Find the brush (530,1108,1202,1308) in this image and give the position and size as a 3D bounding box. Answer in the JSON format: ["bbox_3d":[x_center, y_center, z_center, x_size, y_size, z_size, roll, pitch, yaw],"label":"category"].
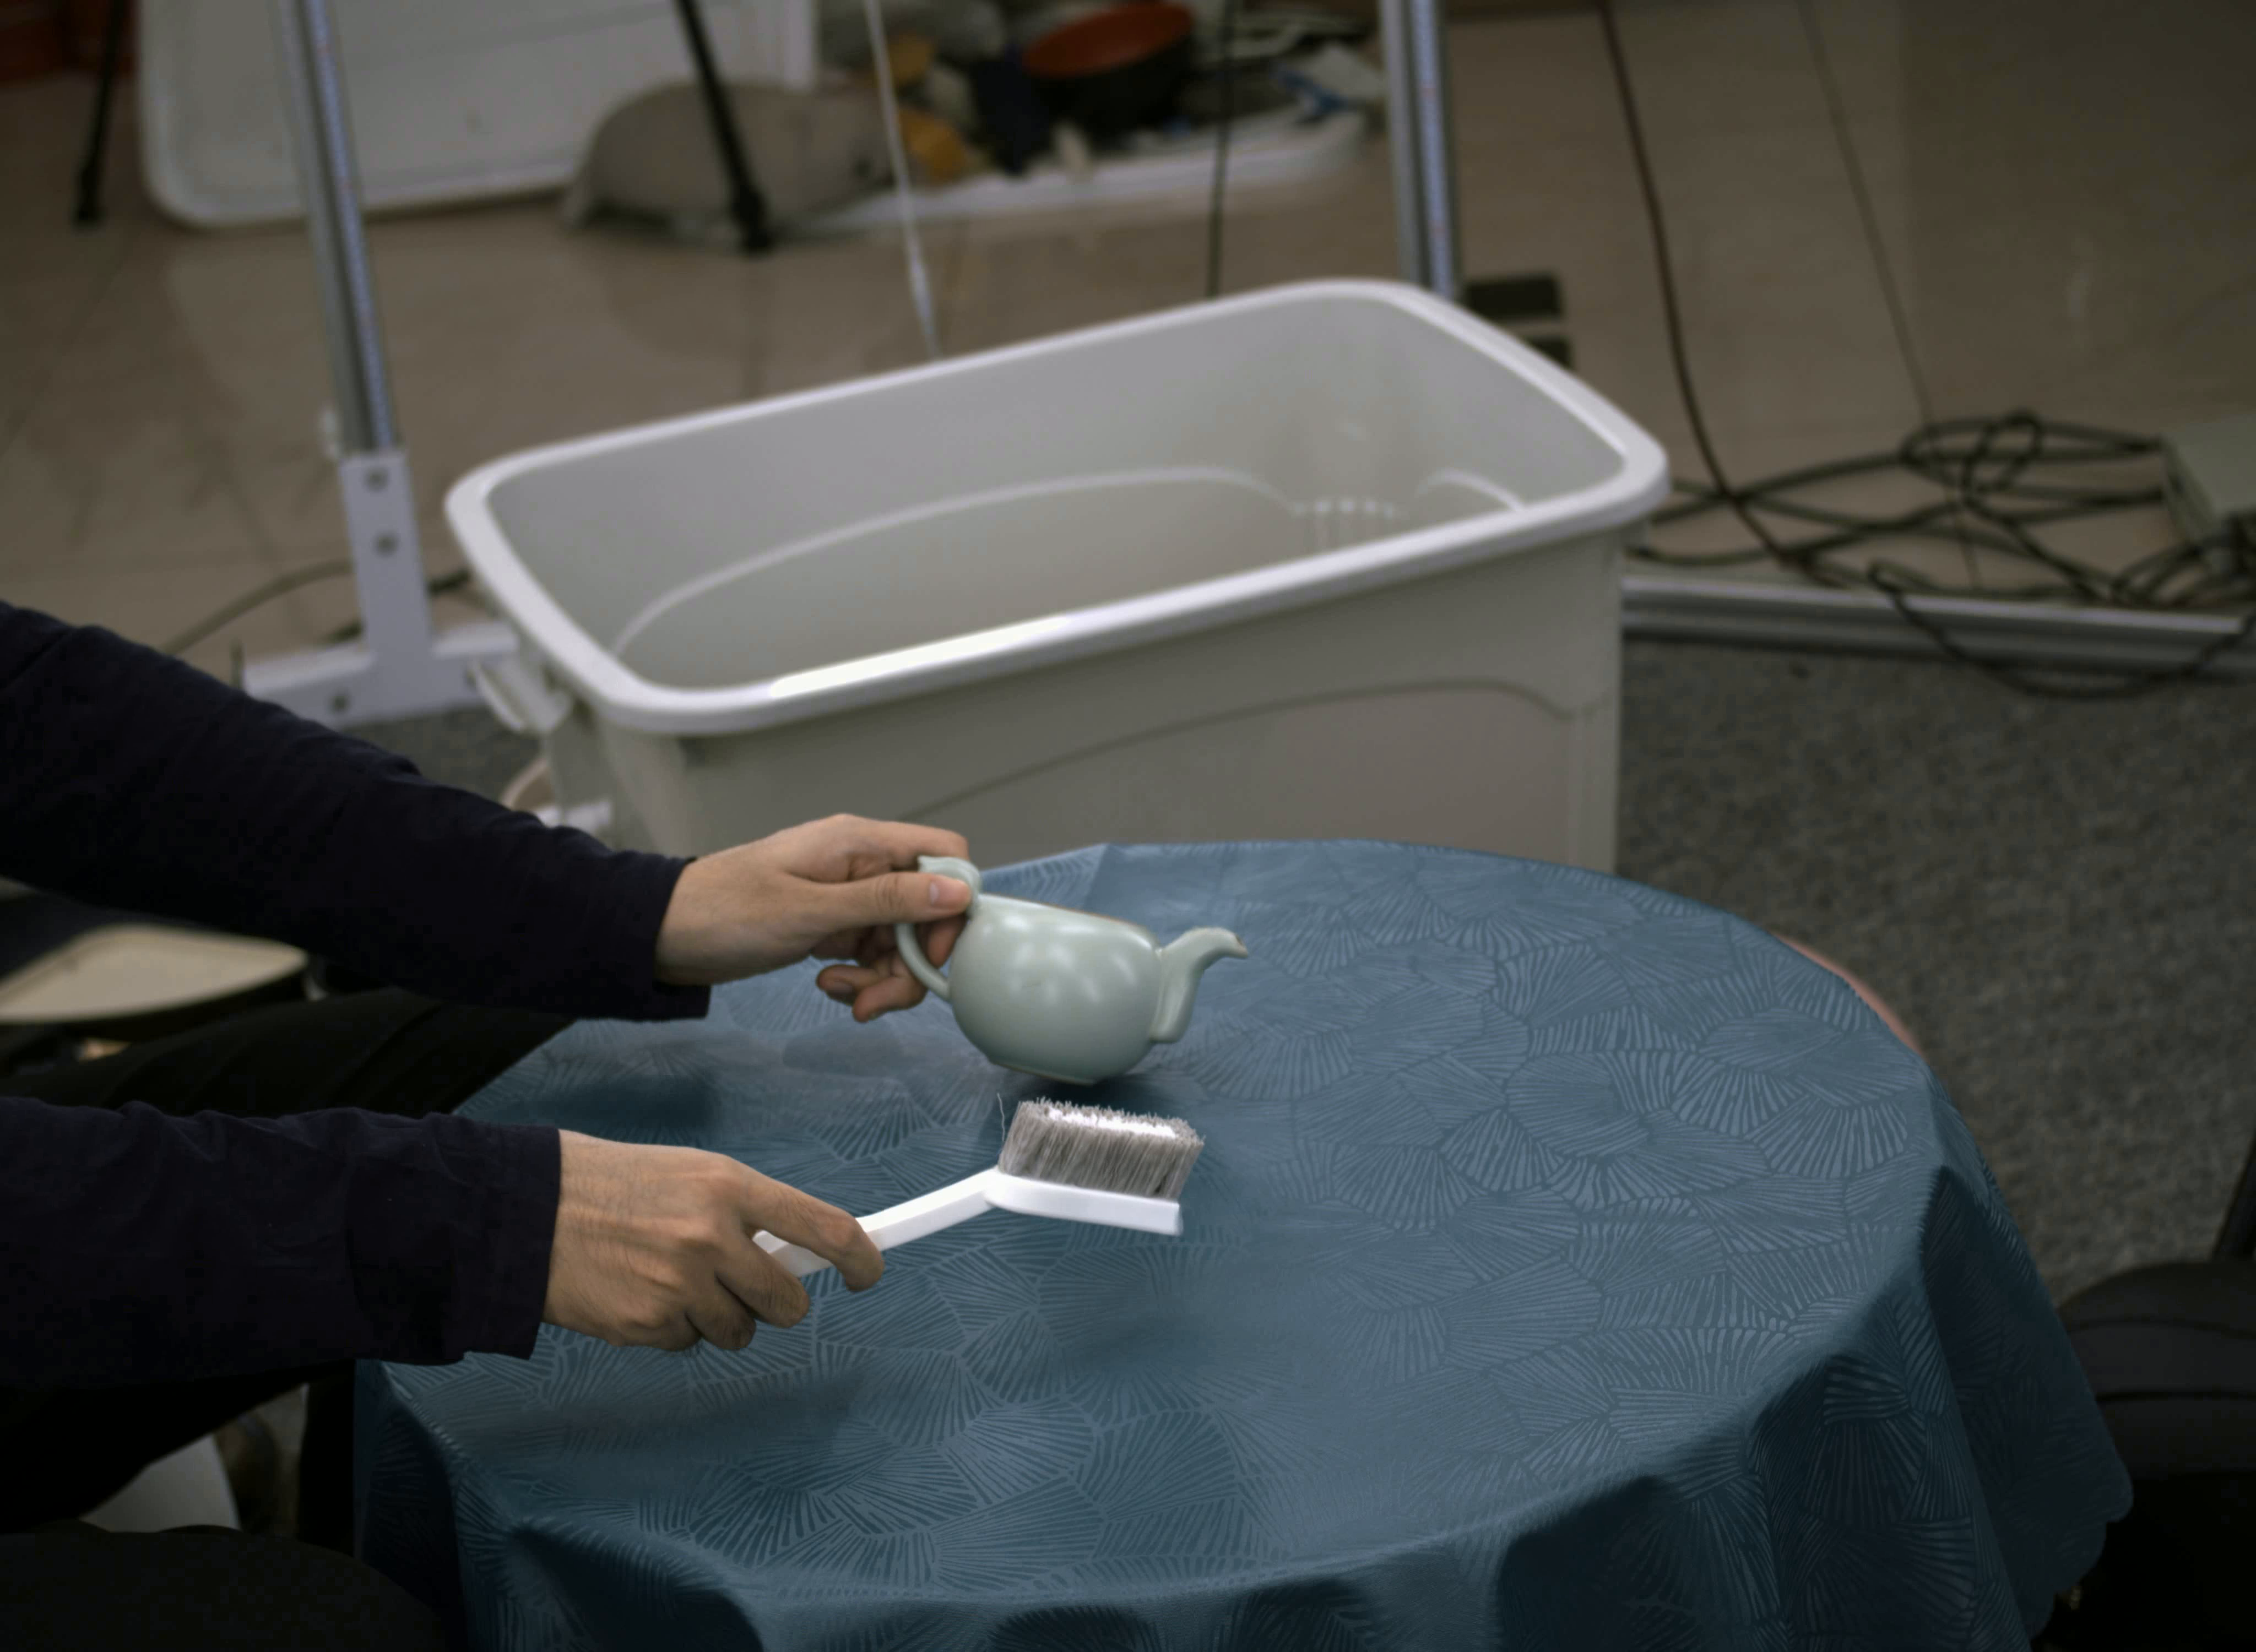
[{"bbox_3d":[-0.094,0.135,2.024,0.243,0.051,0.034,-6,22,-8],"label":"brush"}]

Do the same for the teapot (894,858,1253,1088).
[{"bbox_3d":[-0.026,0.063,2.219,0.143,0.075,0.088,15,3,16],"label":"teapot"}]
